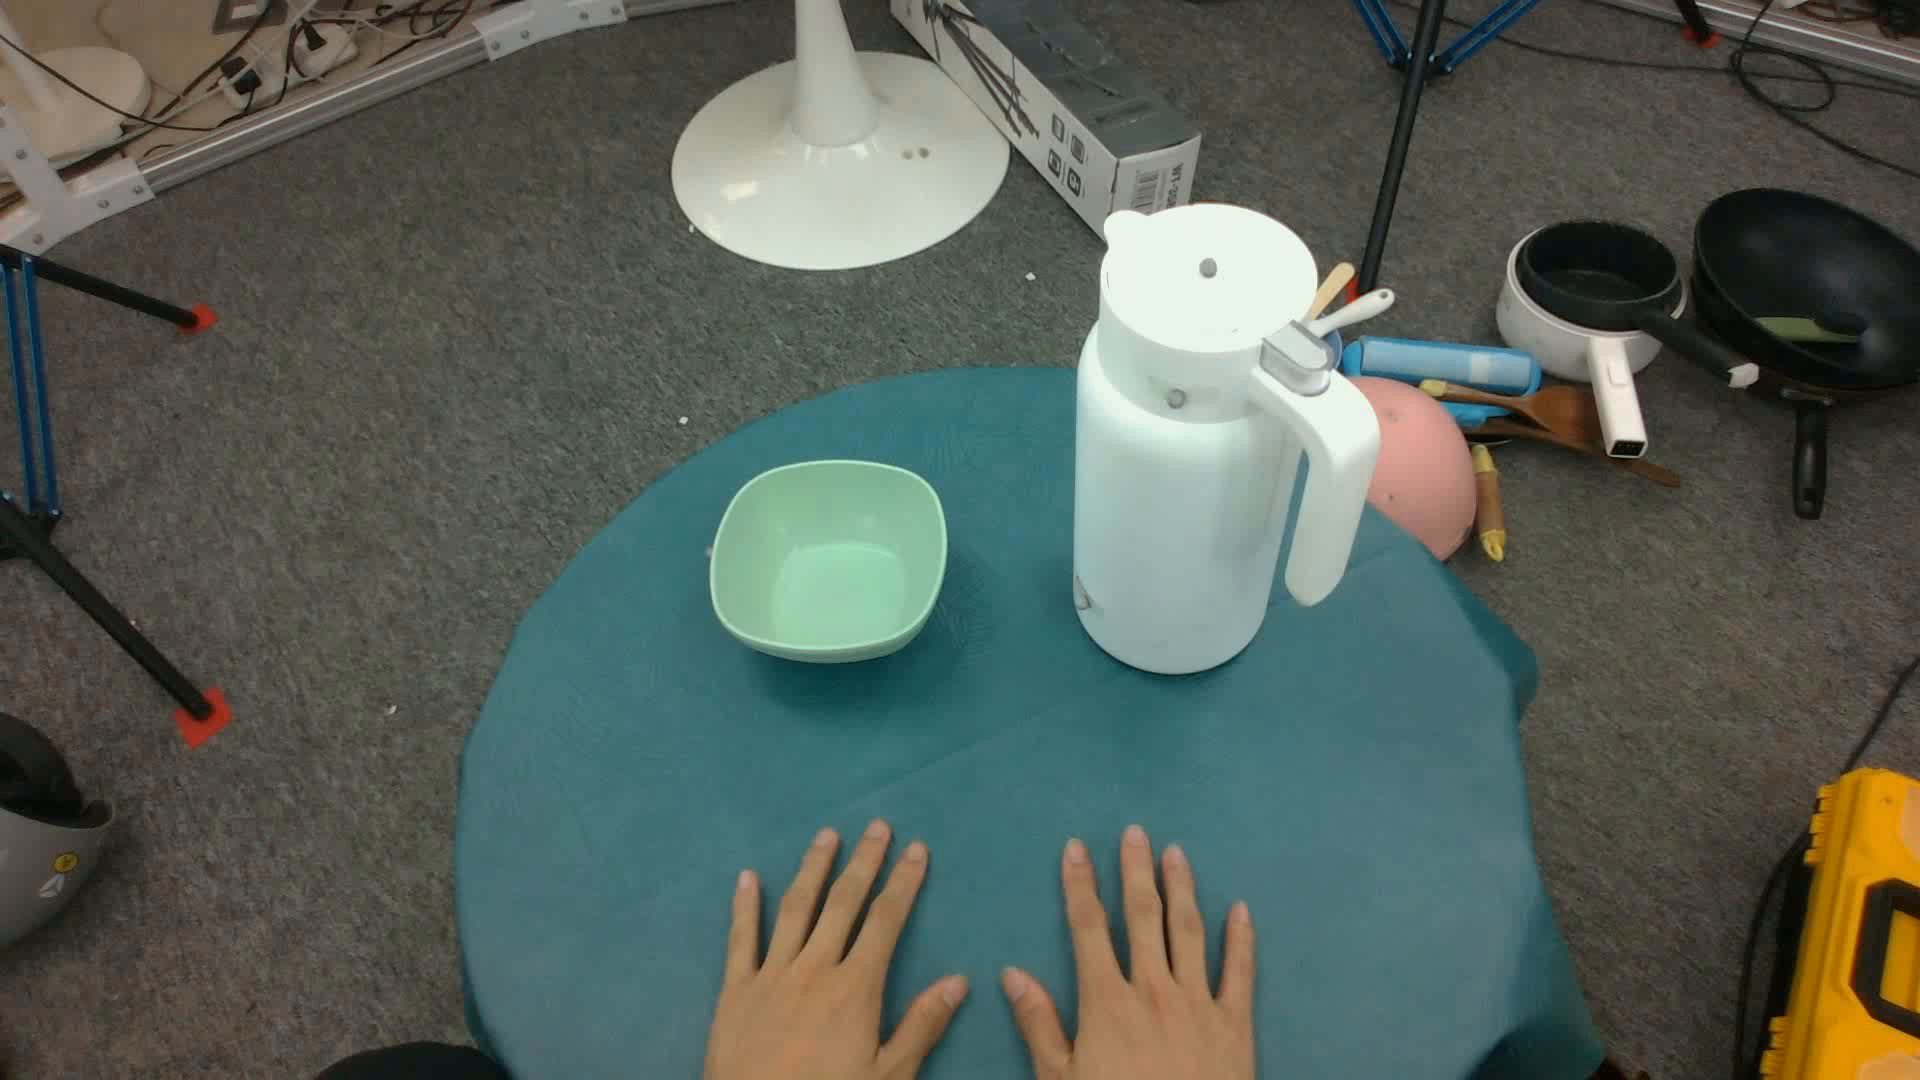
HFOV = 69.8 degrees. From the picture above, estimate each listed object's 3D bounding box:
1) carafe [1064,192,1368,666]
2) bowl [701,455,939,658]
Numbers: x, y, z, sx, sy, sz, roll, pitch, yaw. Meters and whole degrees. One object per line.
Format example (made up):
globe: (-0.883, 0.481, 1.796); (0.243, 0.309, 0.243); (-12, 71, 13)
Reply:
carafe: (0.127, -0.038, 0.728); (0.124, 0.267, 0.173); (-32, 58, -22)
bowl: (-0.080, 0.019, 0.828); (0.151, 0.058, 0.152); (-1, 53, 2)
